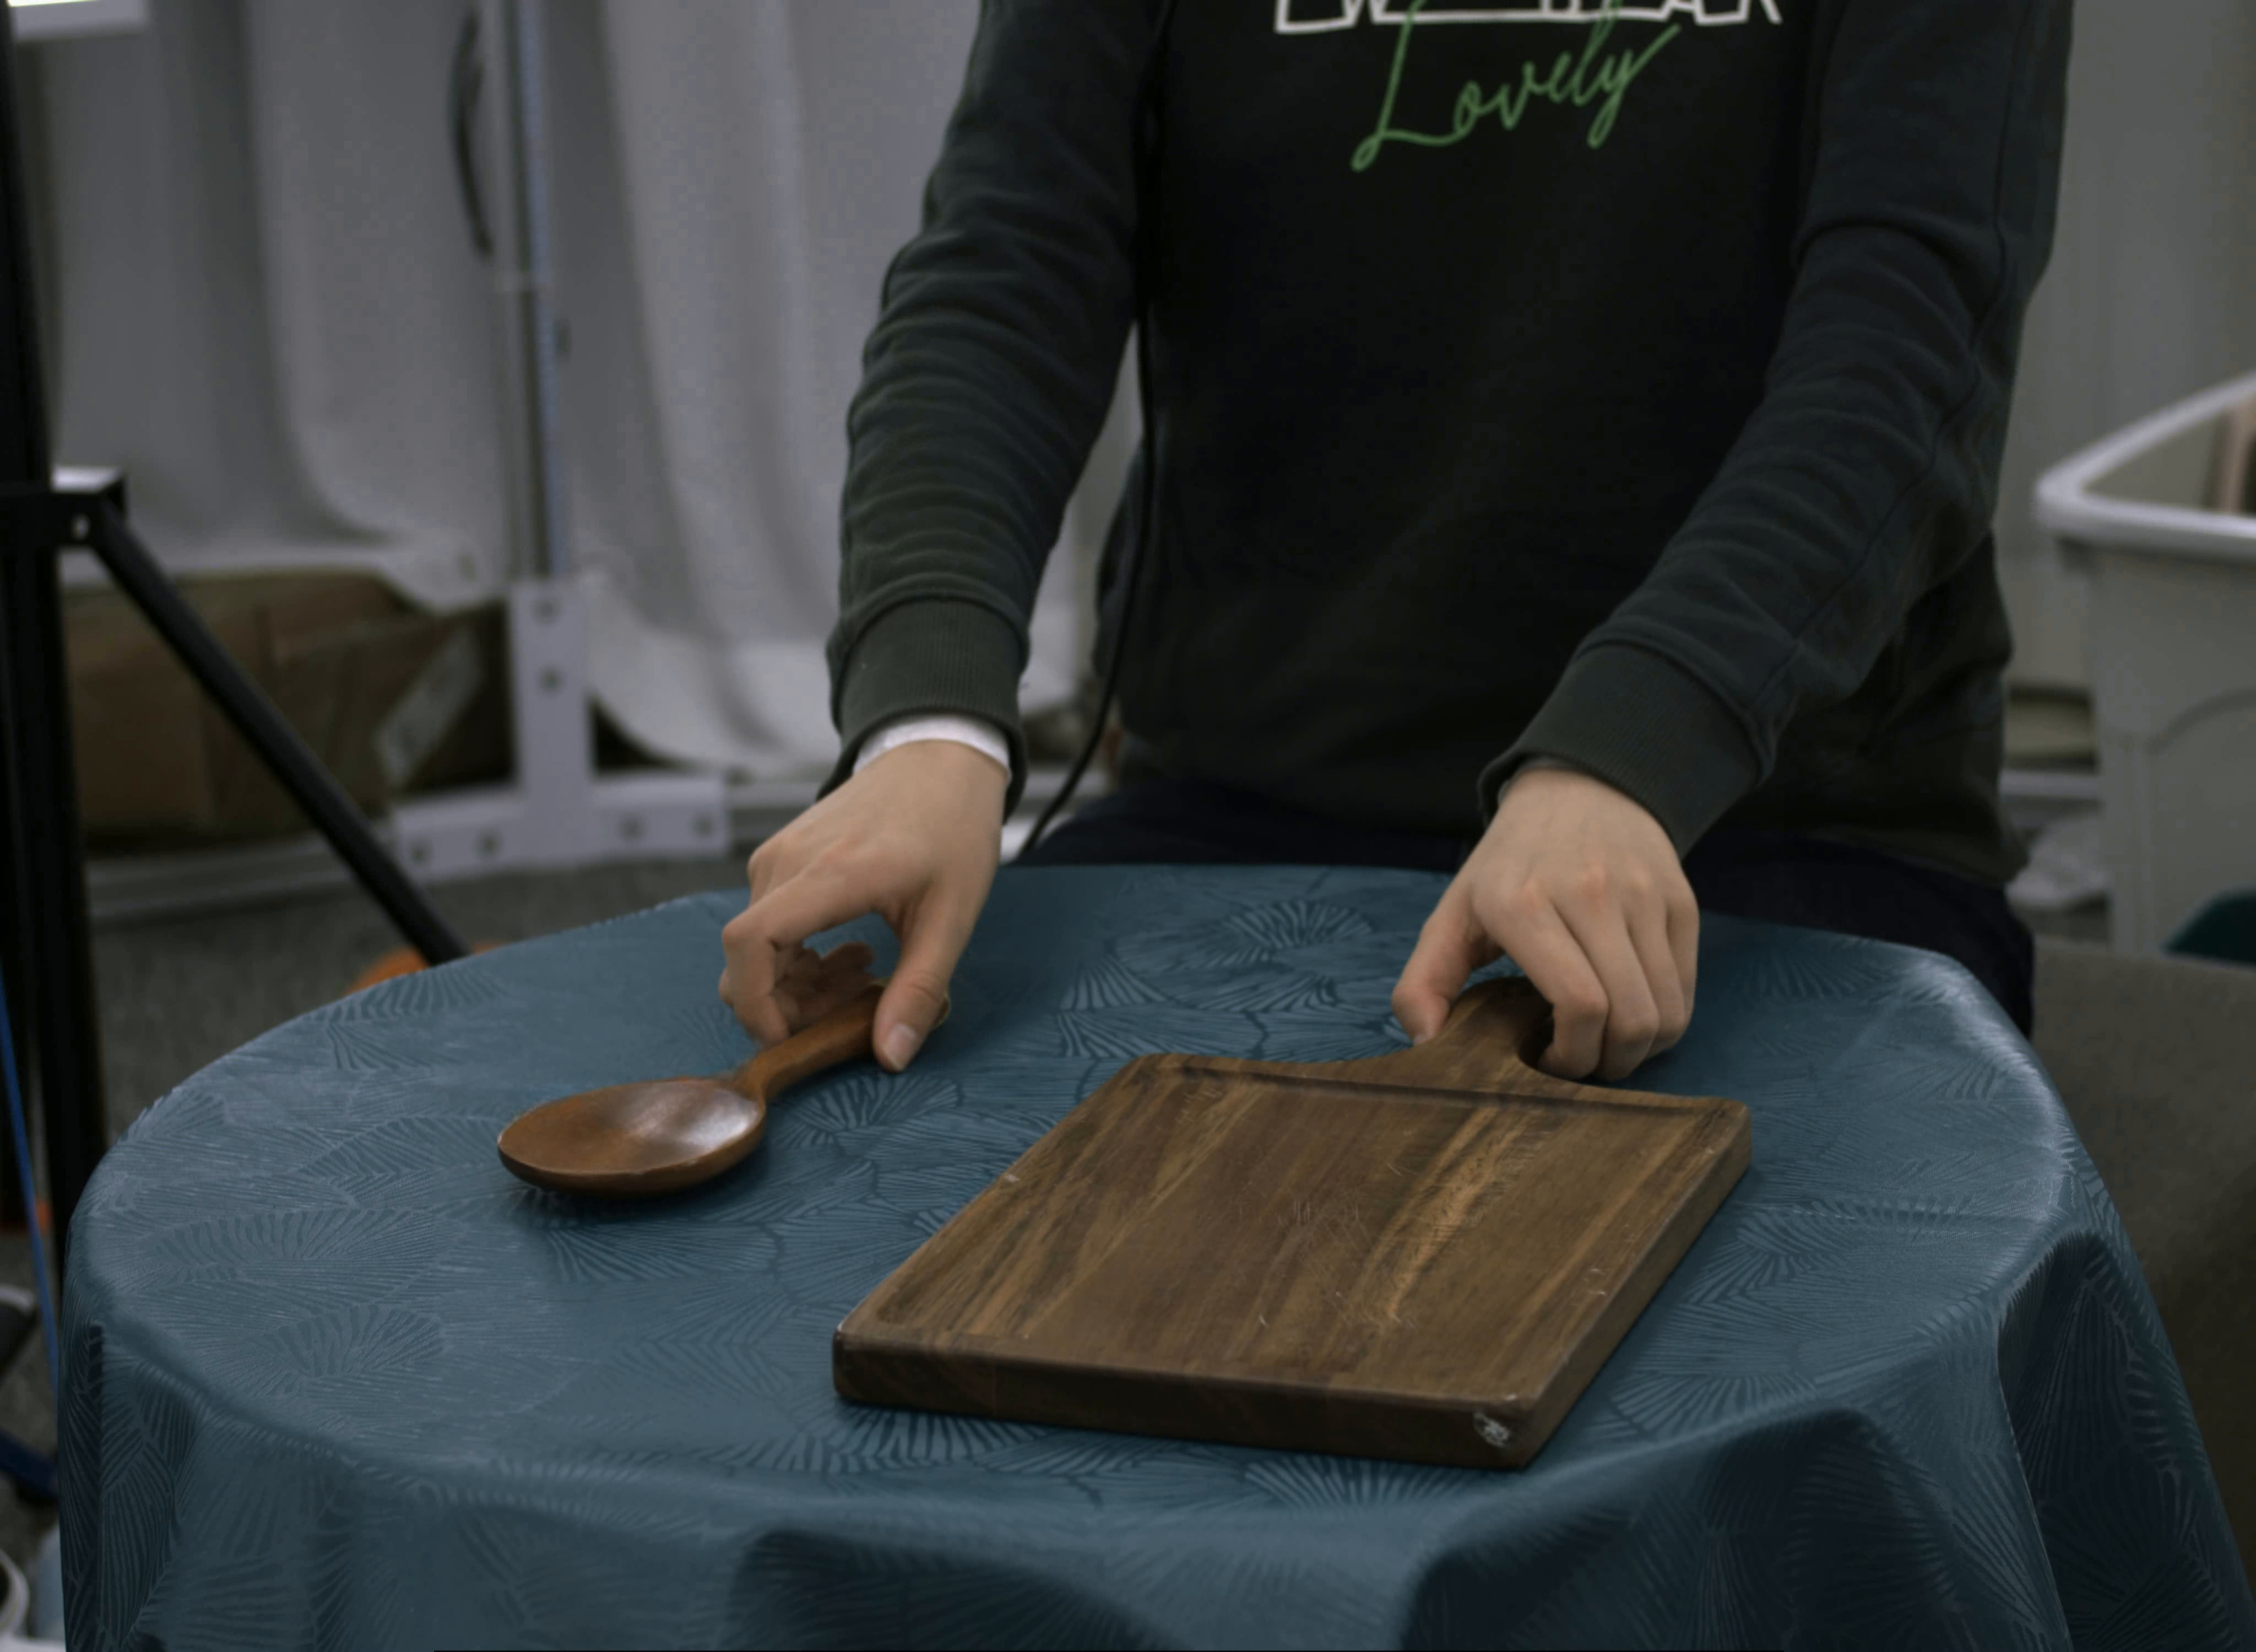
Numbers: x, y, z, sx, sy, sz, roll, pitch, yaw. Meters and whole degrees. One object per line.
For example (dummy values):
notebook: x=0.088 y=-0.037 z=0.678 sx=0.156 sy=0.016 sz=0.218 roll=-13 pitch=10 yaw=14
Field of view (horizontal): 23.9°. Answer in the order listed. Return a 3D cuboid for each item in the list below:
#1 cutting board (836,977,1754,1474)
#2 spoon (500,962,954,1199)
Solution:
cutting board: x=0.070 y=0.105 z=1.524 sx=0.203 sy=0.023 sz=0.348 roll=3 pitch=17 yaw=21
spoon: x=-0.115 y=0.080 z=1.644 sx=0.077 sy=0.017 sz=0.212 roll=5 pitch=18 yaw=30
